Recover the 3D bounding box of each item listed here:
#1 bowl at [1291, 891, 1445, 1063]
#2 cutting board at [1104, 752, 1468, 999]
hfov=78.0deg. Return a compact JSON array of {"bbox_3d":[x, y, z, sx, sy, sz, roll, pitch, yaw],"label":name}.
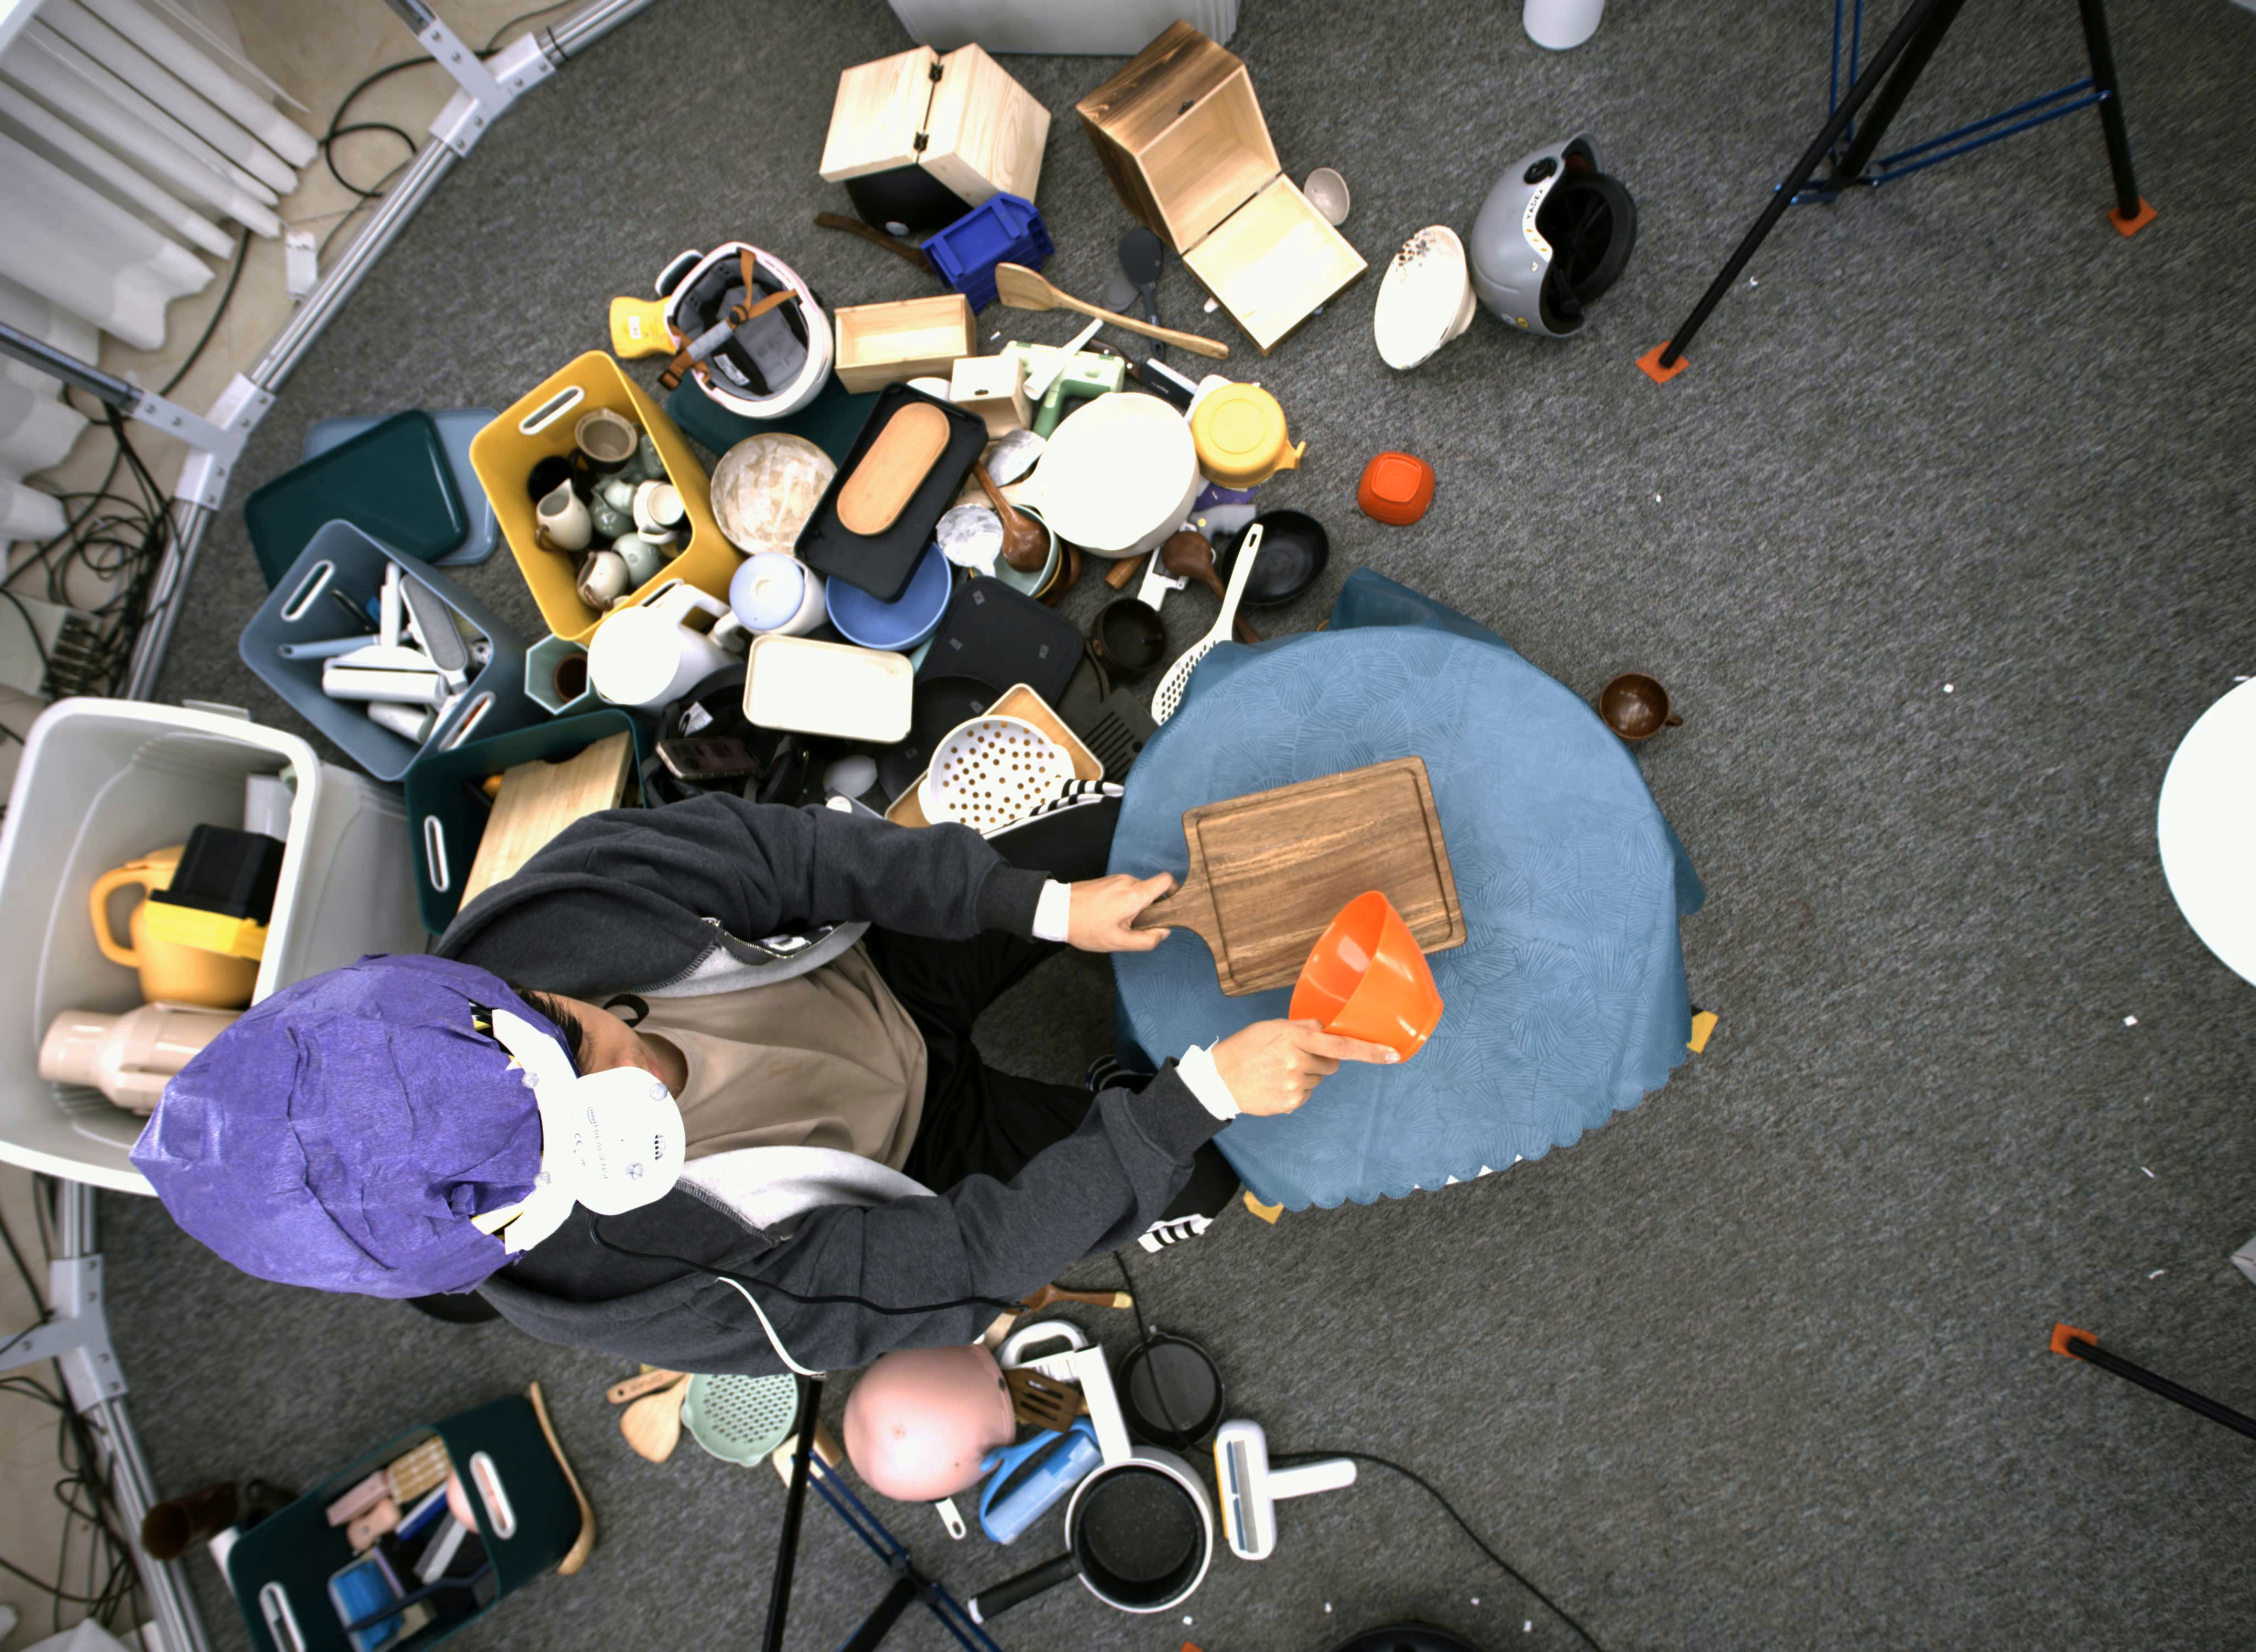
[{"bbox_3d":[0.217,0.143,1.211,0.105,0.147,0.148,36,91,-2],"label":"bowl"},{"bbox_3d":[0.146,0.061,1.392,0.354,0.023,0.200,-14,89,9],"label":"cutting board"}]
